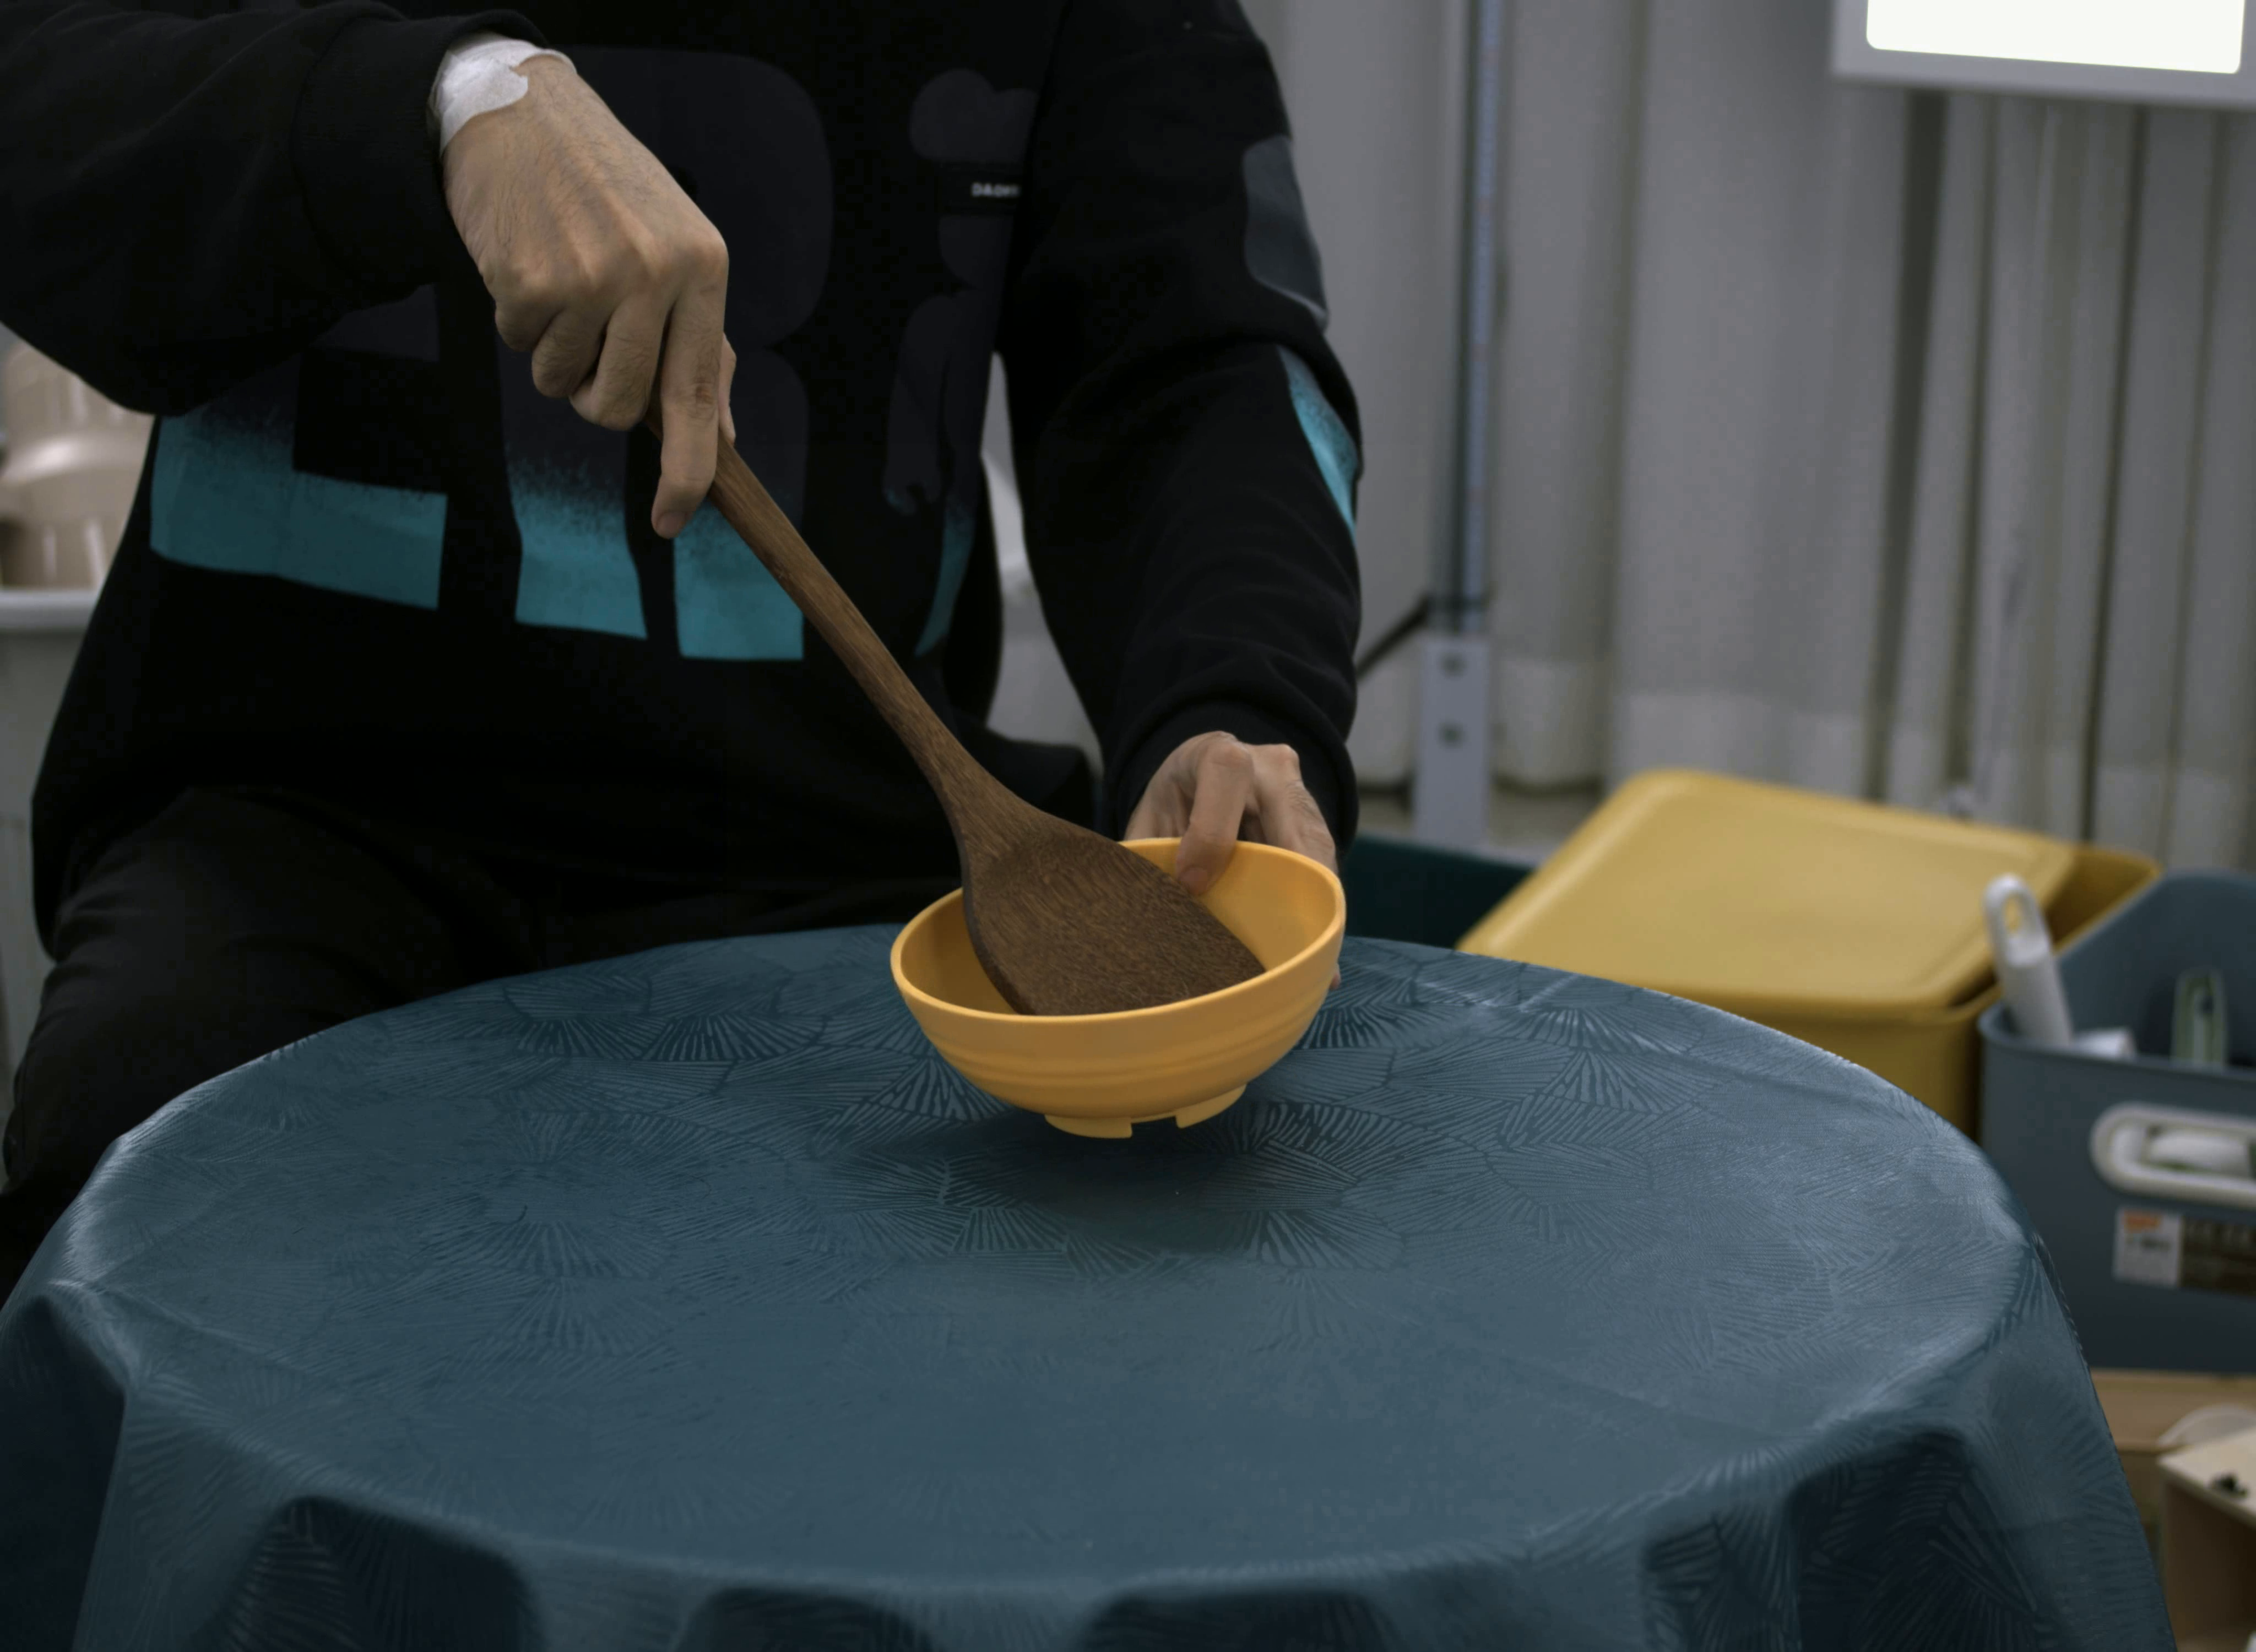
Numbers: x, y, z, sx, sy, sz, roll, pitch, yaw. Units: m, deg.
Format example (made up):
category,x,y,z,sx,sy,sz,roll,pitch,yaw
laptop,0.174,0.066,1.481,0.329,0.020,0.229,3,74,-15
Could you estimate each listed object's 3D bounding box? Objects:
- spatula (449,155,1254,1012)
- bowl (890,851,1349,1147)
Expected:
category,x,y,z,sx,sy,sz,roll,pitch,yaw
spatula,-0.099,-0.073,1.690,0.384,0.016,0.096,51,42,9
bowl,0.000,0.061,1.655,0.145,0.061,0.144,-5,20,2
